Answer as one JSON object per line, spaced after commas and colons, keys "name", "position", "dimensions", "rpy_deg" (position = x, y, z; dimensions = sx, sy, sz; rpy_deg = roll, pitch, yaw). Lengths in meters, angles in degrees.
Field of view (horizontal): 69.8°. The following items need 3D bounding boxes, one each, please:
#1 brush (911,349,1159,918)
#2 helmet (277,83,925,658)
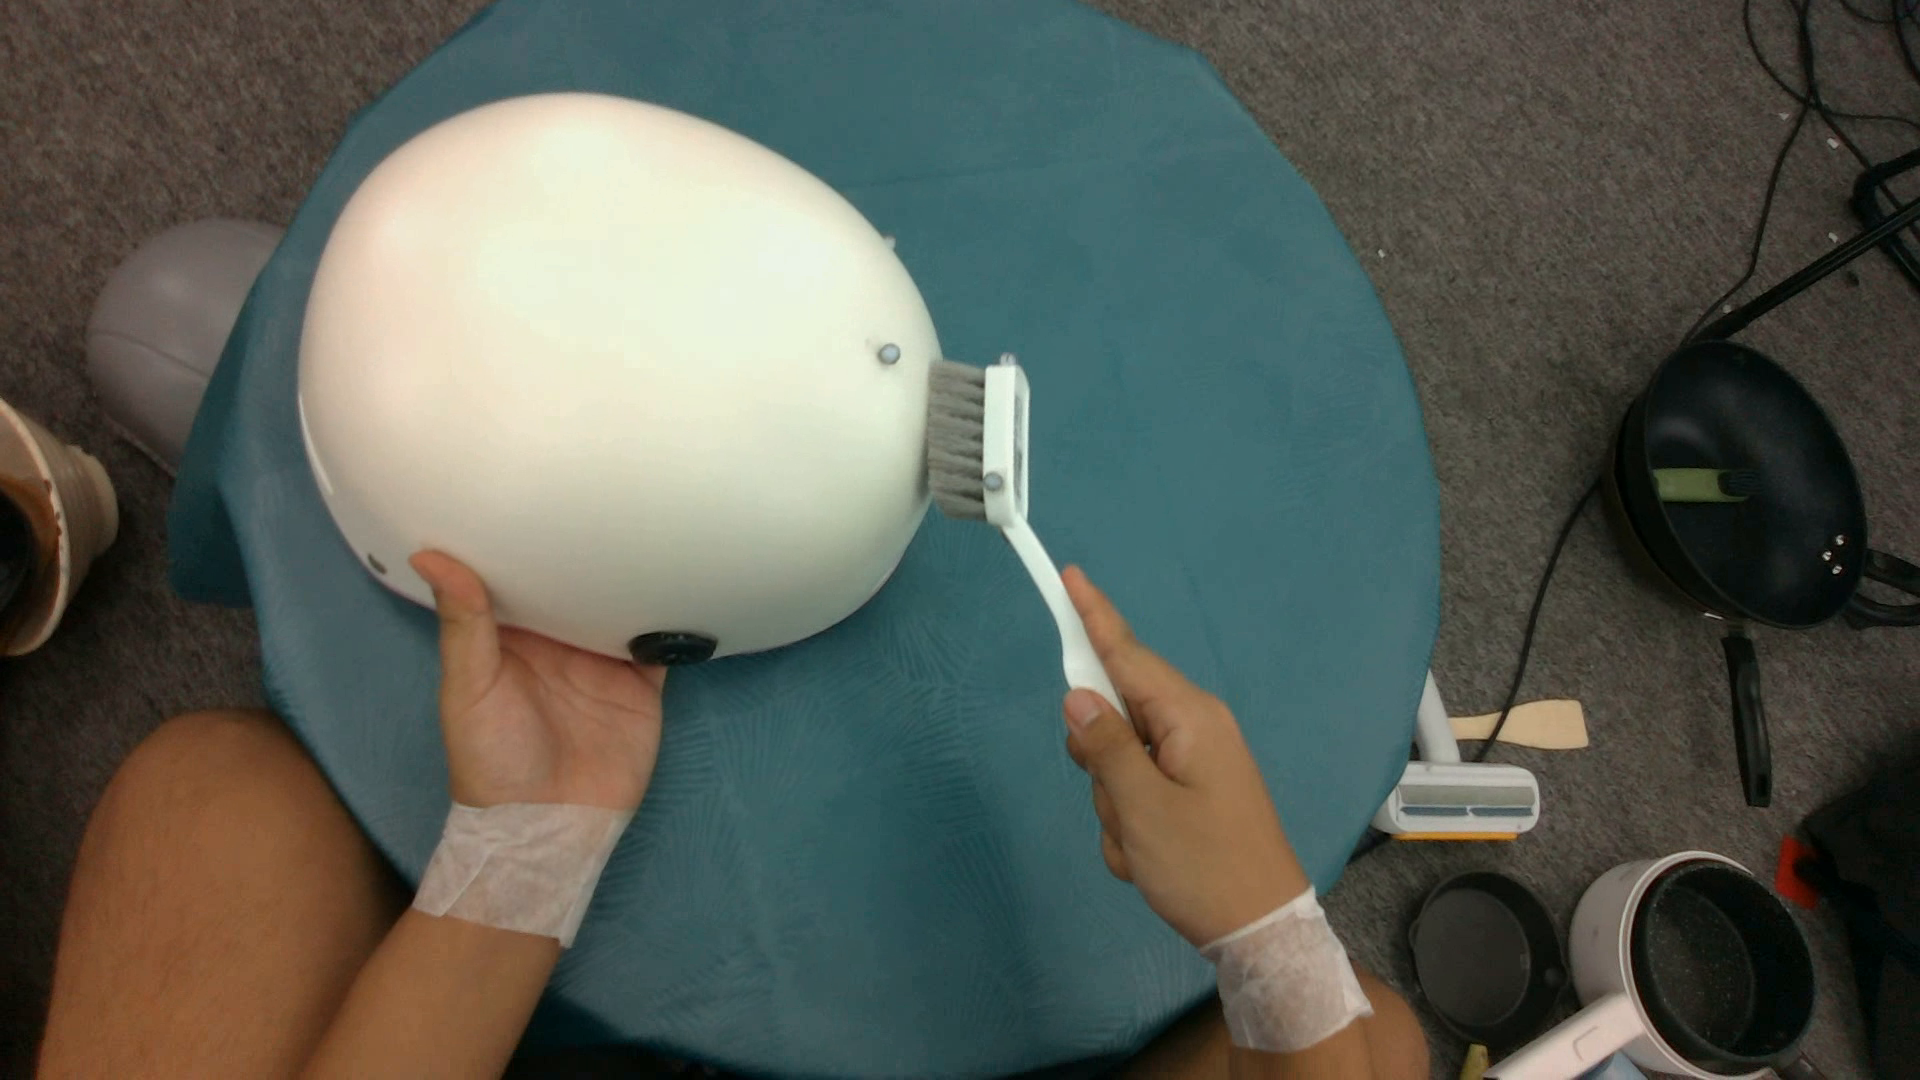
{"name": "brush", "position": [0.024, 0.034, 0.552], "dimensions": [0.050, 0.034, 0.244], "rpy_deg": [-18, 76, 9]}
{"name": "helmet", "position": [-0.135, -0.079, 0.563], "dimensions": [0.269, 0.166, 0.238], "rpy_deg": [10, 68, -15]}
